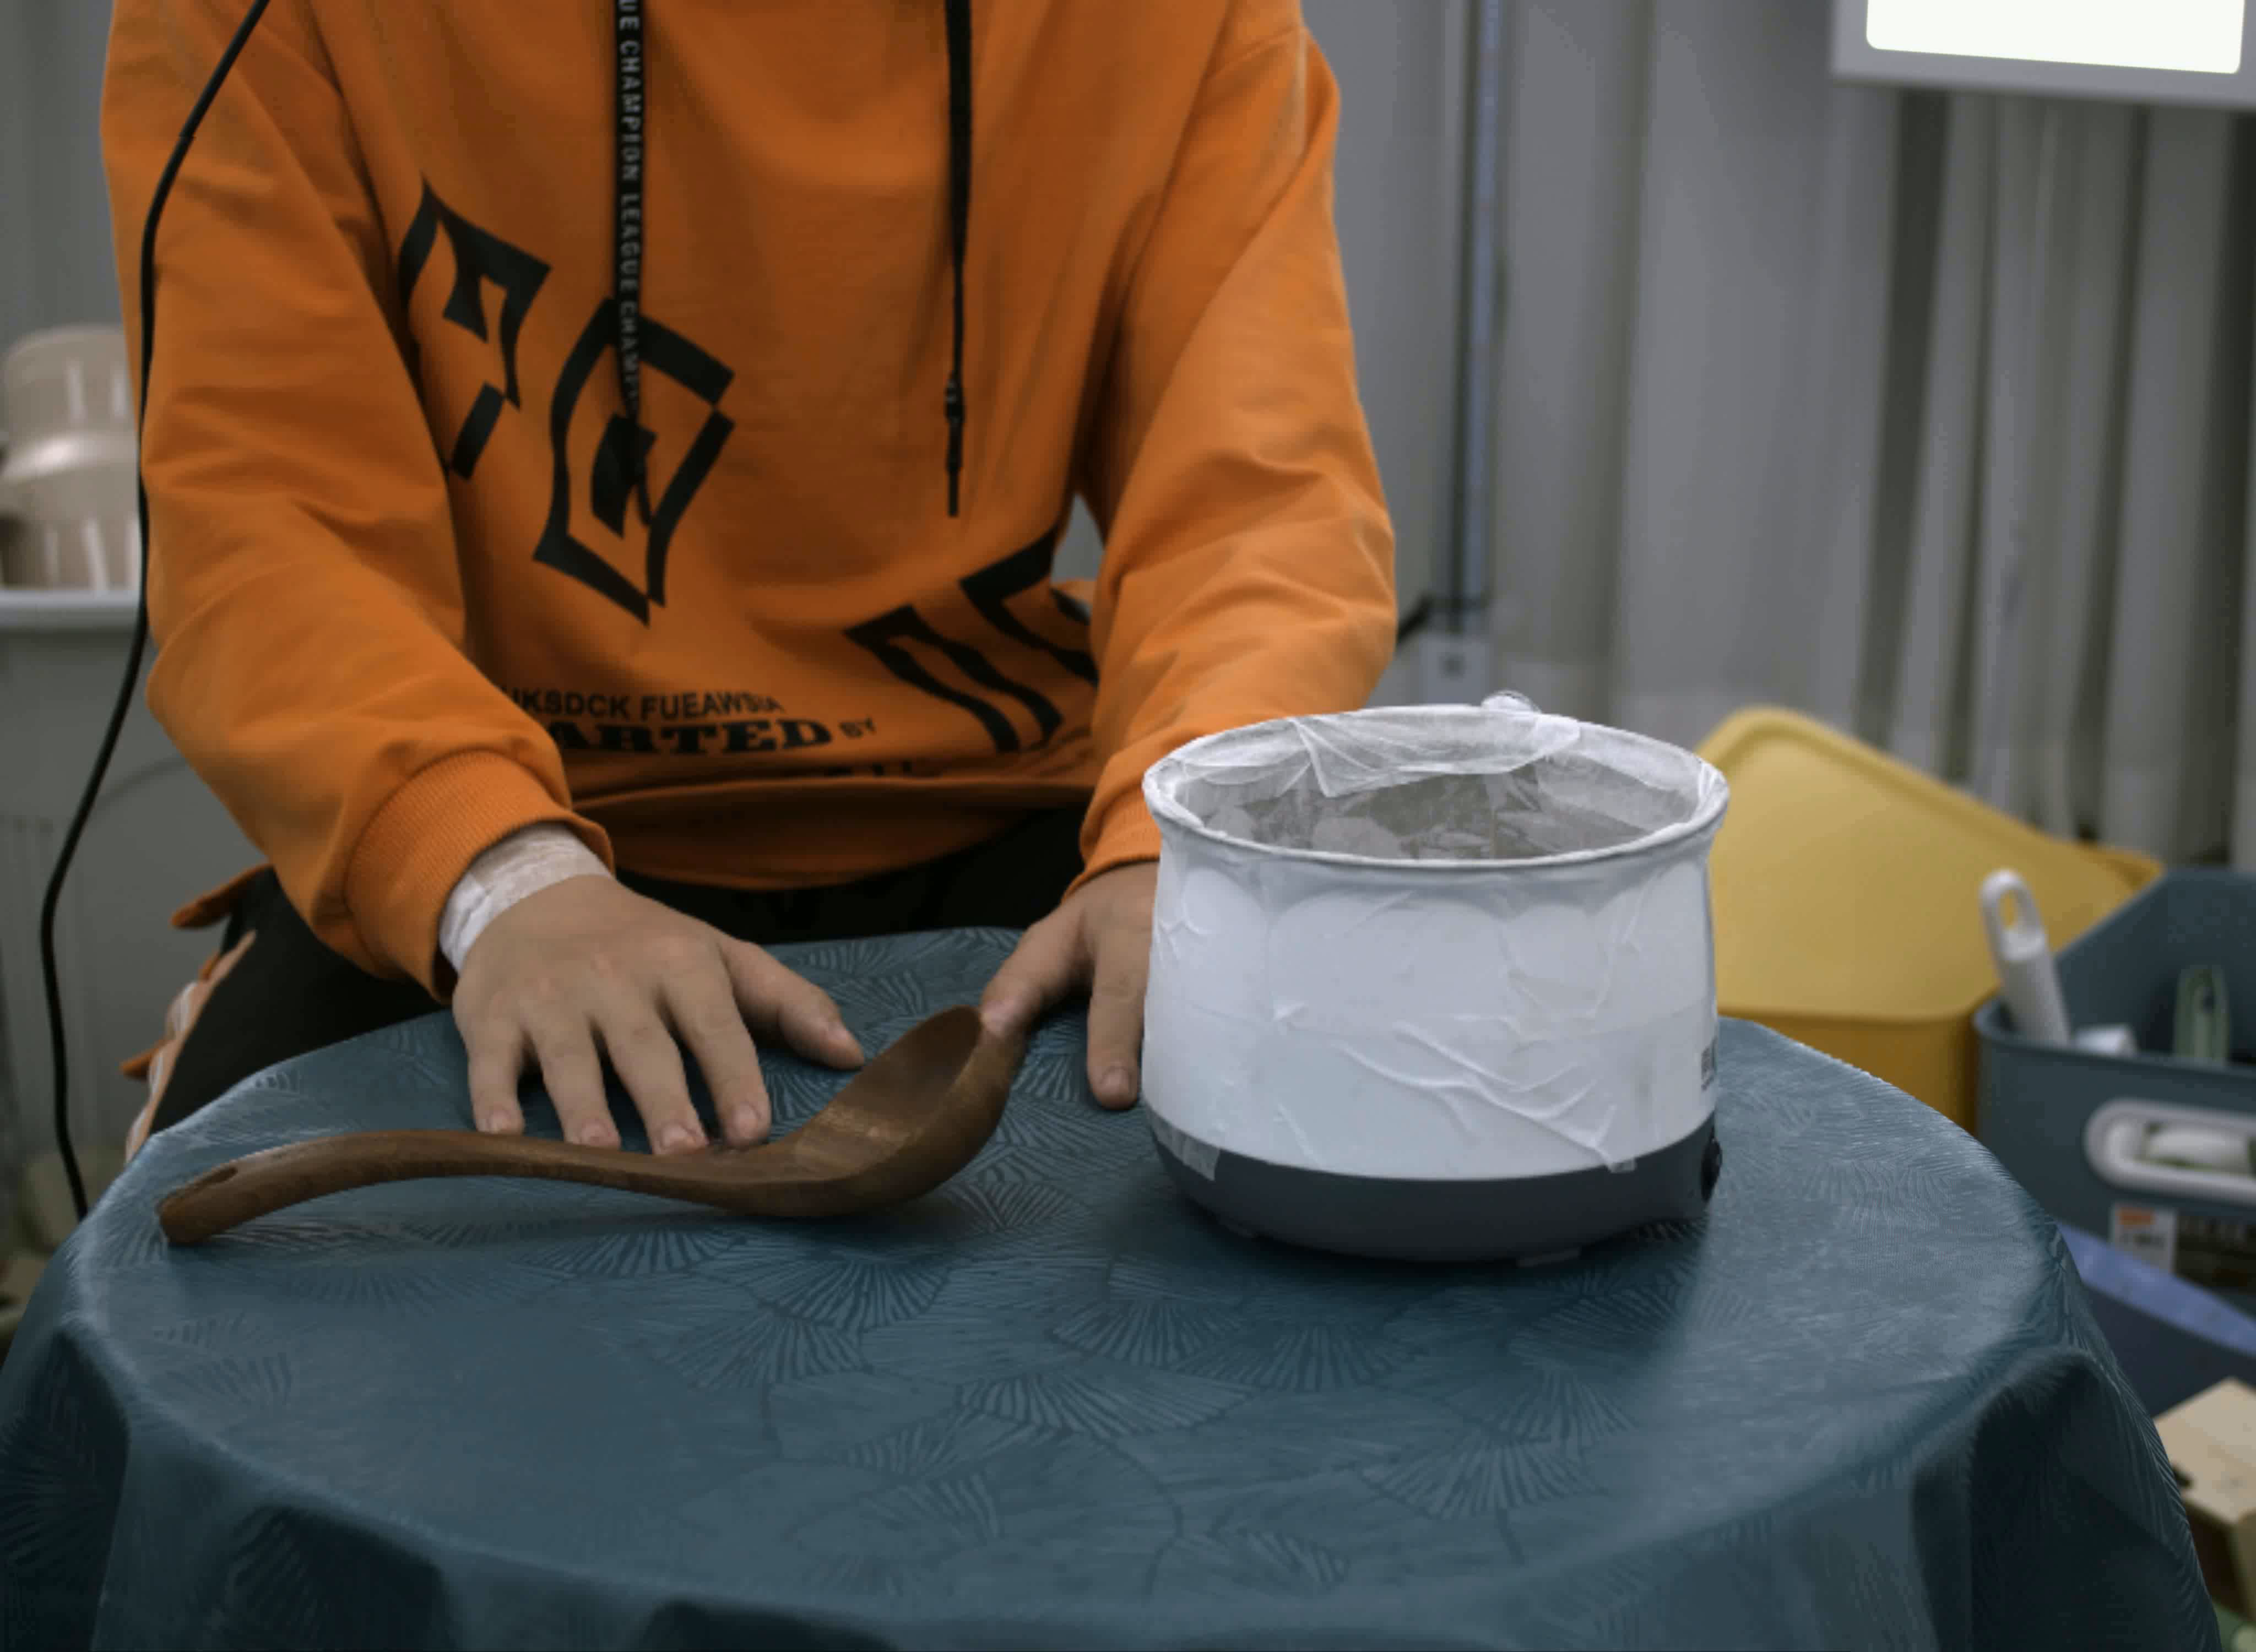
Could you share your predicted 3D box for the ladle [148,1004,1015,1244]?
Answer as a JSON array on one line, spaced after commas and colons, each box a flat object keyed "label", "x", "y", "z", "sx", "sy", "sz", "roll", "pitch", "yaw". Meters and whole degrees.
[{"label": "ladle", "x": -0.164, "y": 0.089, "z": 1.581, "sx": 0.260, "sy": 0.065, "sz": 0.076, "roll": -1, "pitch": 13, "yaw": -7}]

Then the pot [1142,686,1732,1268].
[{"label": "pot", "x": 0.100, "y": 0.040, "z": 1.627, "sx": 0.177, "sy": 0.138, "sz": 0.233, "roll": 5, "pitch": 17, "yaw": 14}]
